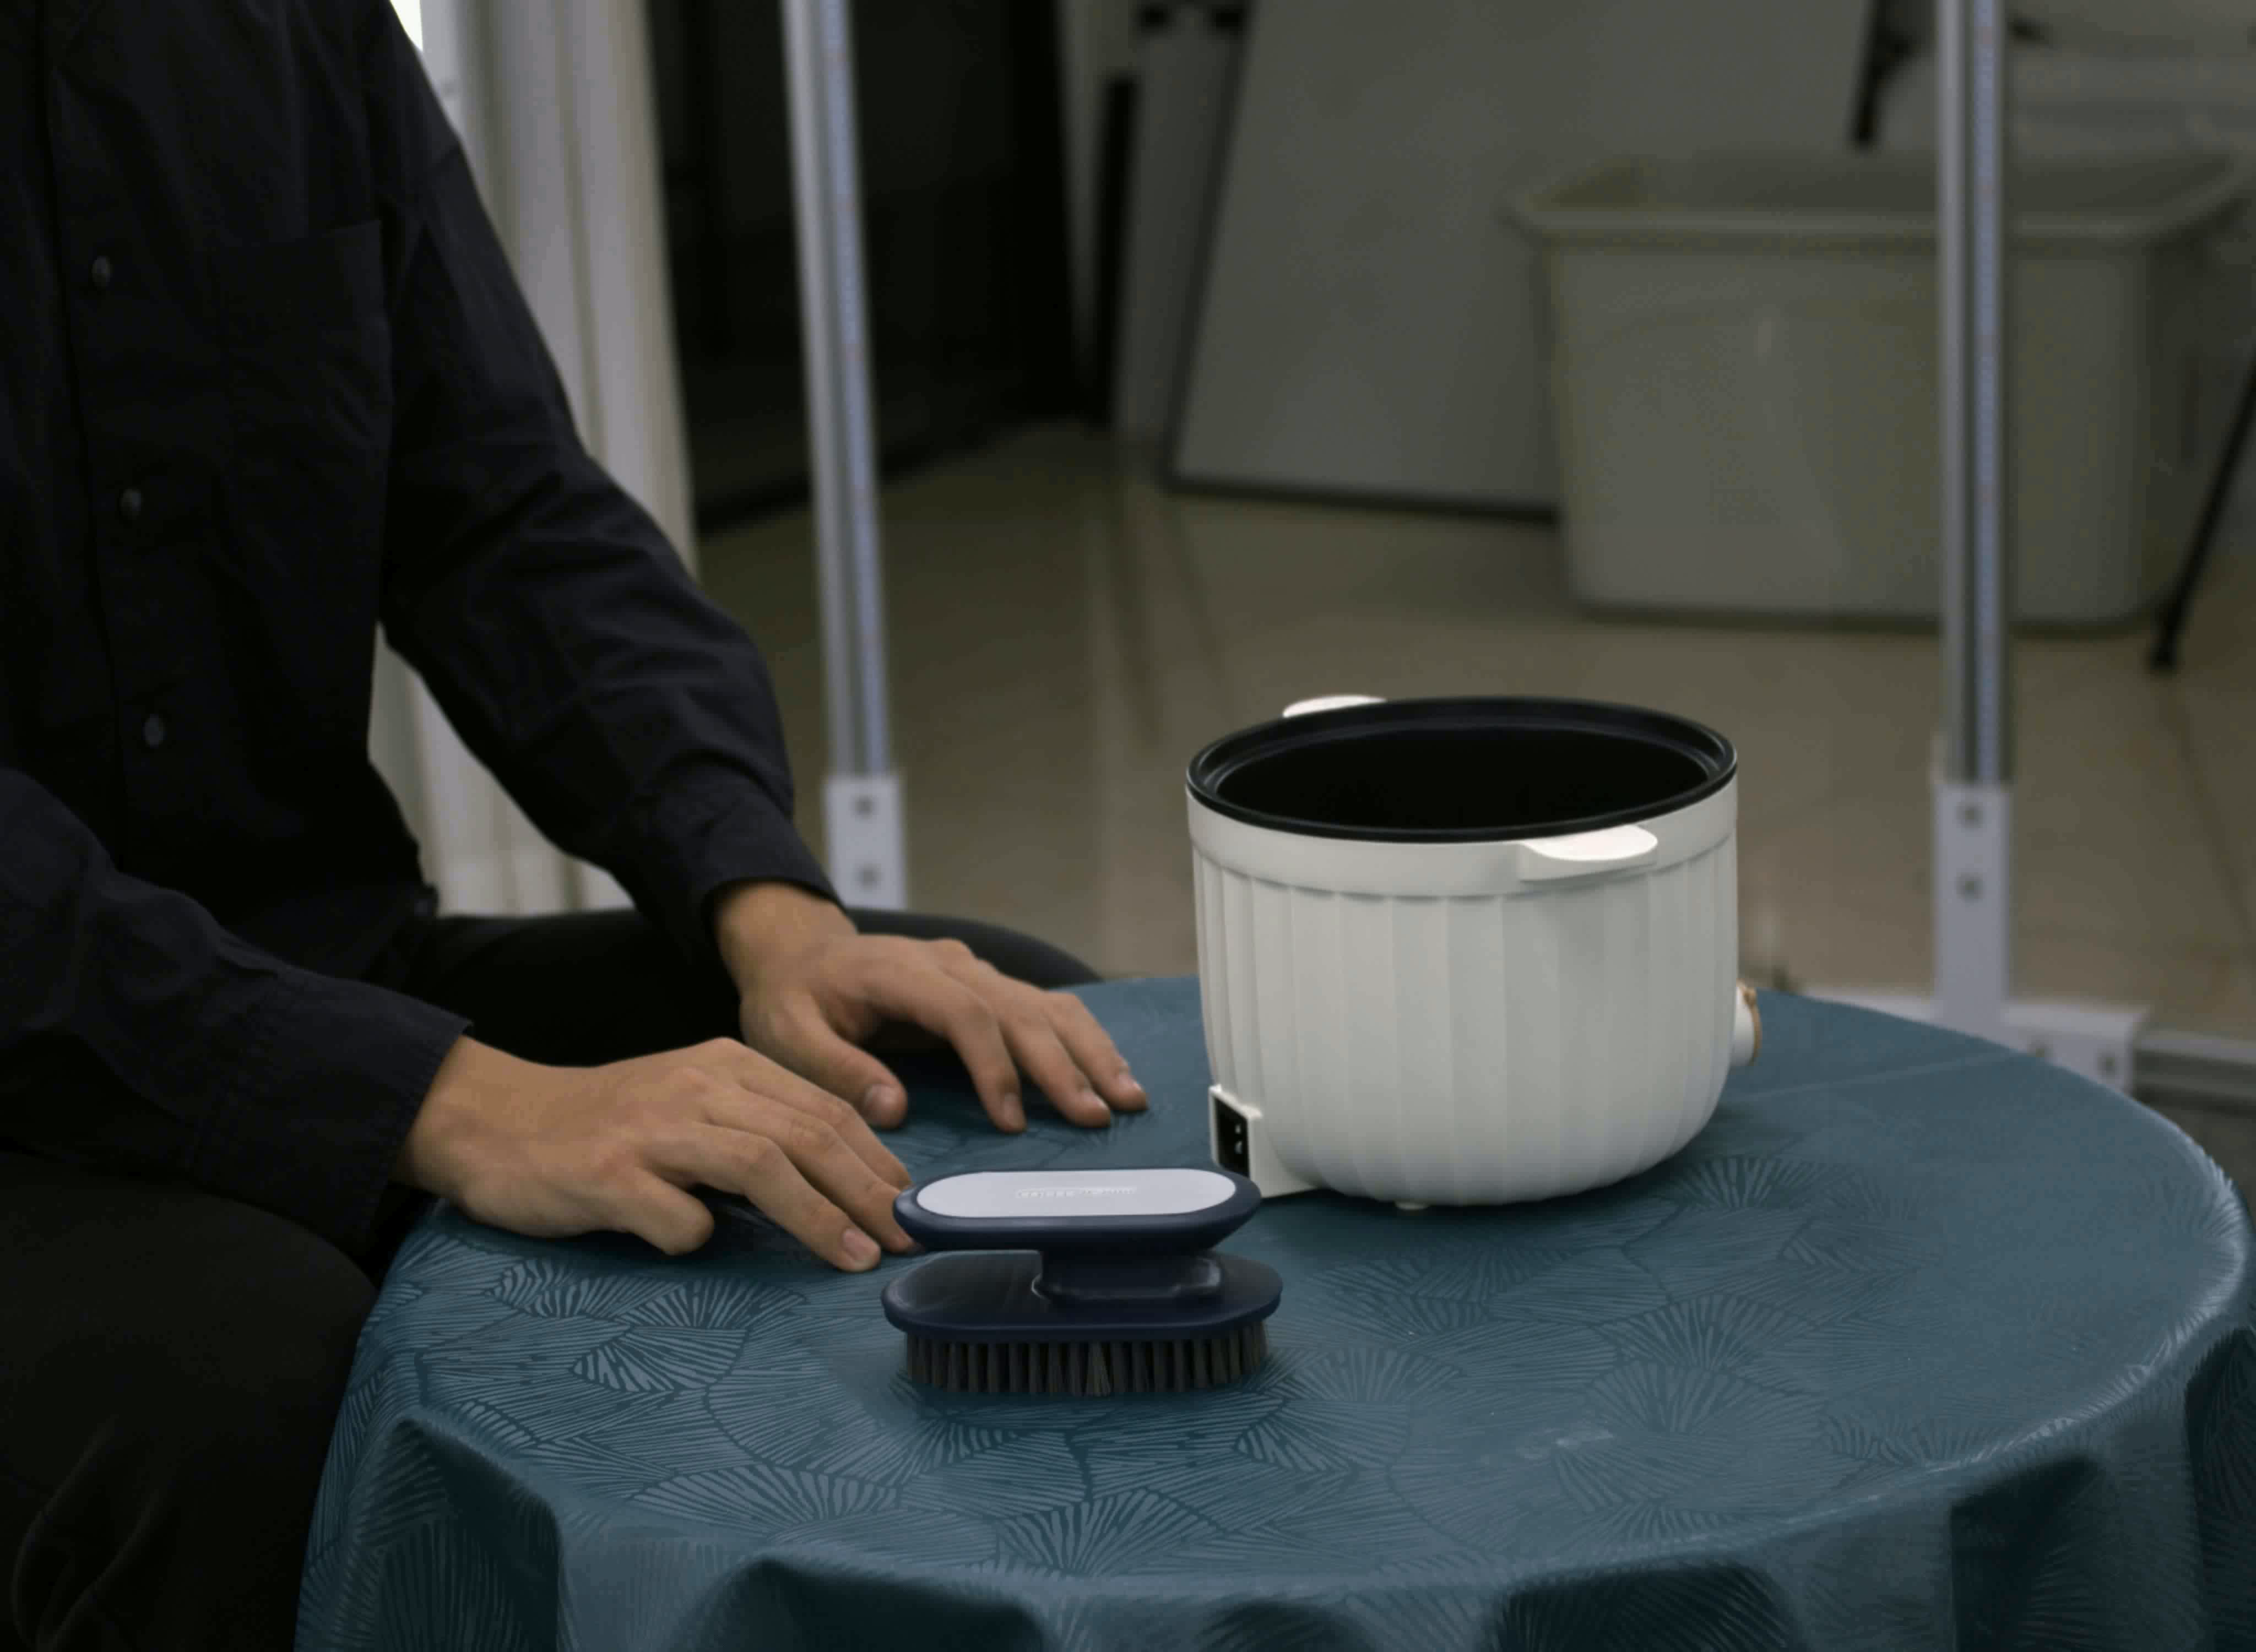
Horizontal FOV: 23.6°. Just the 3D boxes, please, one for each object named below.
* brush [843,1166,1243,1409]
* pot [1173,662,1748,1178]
[{"bbox_3d":[-0.025,0.139,1.604,0.121,0.062,0.067,2,17,11],"label":"brush"},{"bbox_3d":[0.114,0.031,1.788,0.186,0.144,0.243,-11,17,-19],"label":"pot"}]
